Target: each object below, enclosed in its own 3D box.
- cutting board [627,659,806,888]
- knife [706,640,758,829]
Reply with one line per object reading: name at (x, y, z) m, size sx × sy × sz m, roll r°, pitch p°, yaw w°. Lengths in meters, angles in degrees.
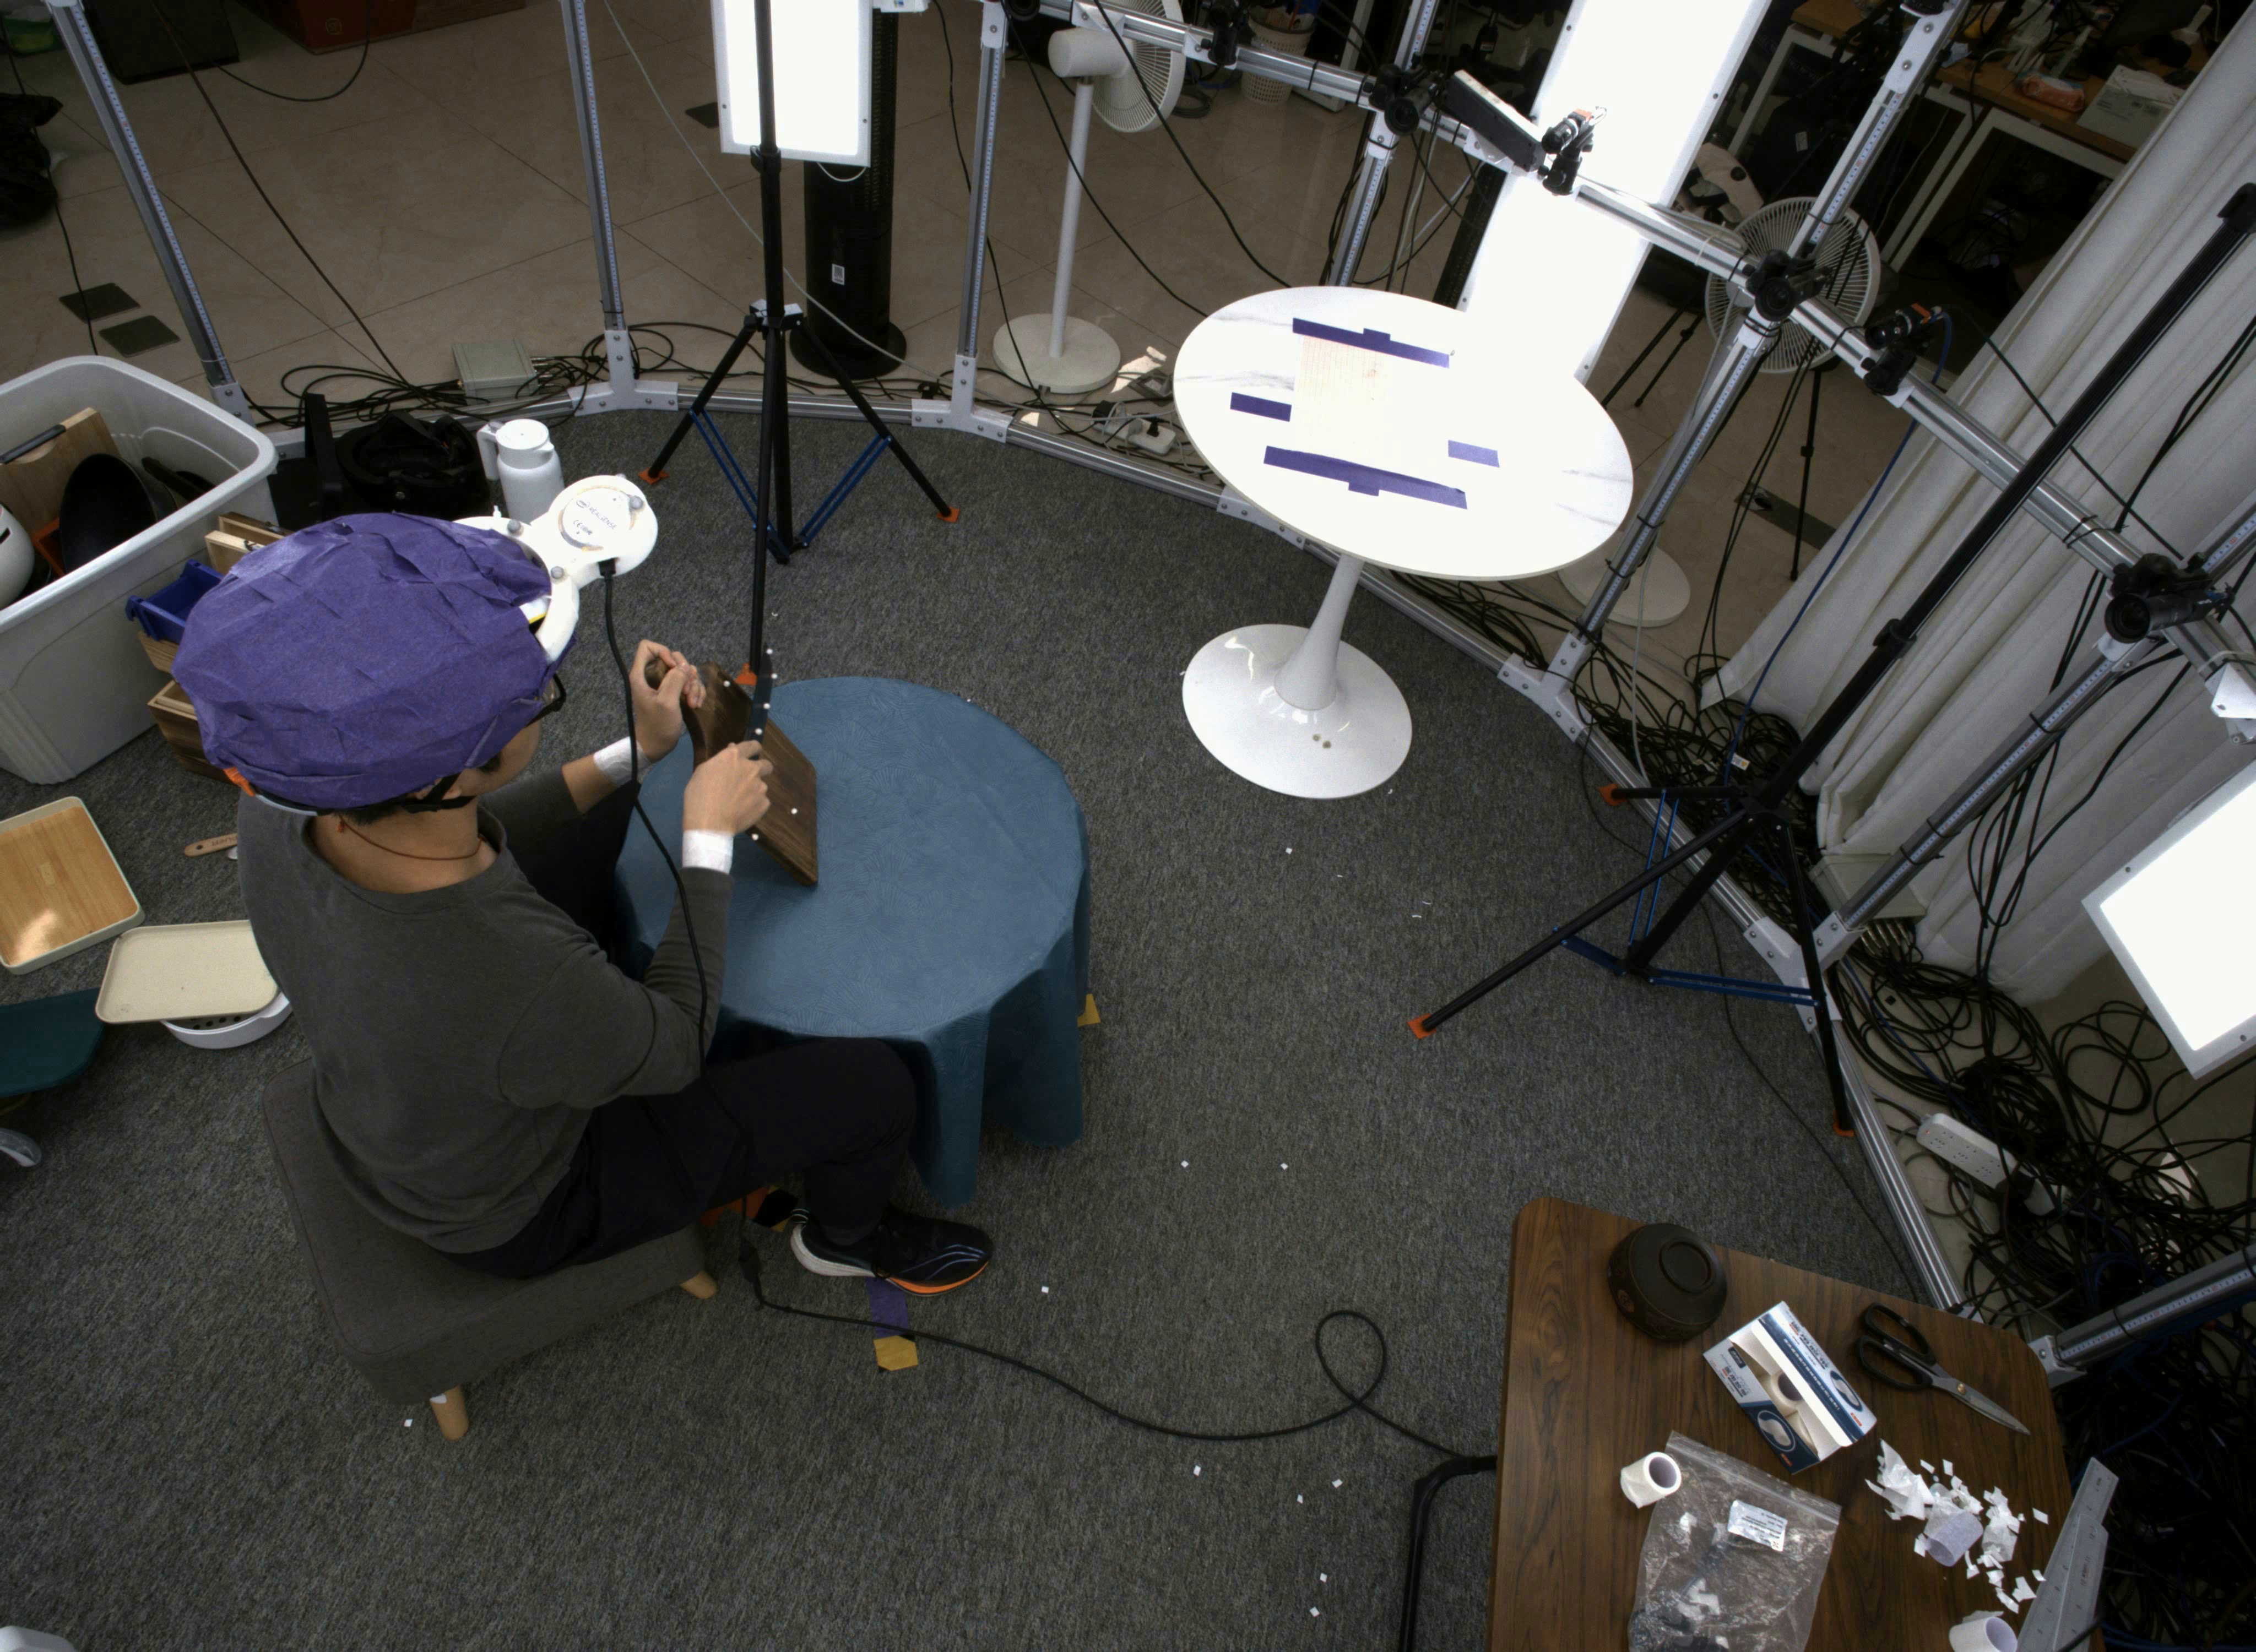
cutting board at (-0.499, -0.089, 1.580) m, size 0.023 × 0.365 × 0.196 m, roll -20°, pitch 54°, yaw 10°
knife at (-0.470, -0.108, 1.547) m, size 0.020 × 0.083 × 0.295 m, roll -2°, pitch 43°, yaw -3°
